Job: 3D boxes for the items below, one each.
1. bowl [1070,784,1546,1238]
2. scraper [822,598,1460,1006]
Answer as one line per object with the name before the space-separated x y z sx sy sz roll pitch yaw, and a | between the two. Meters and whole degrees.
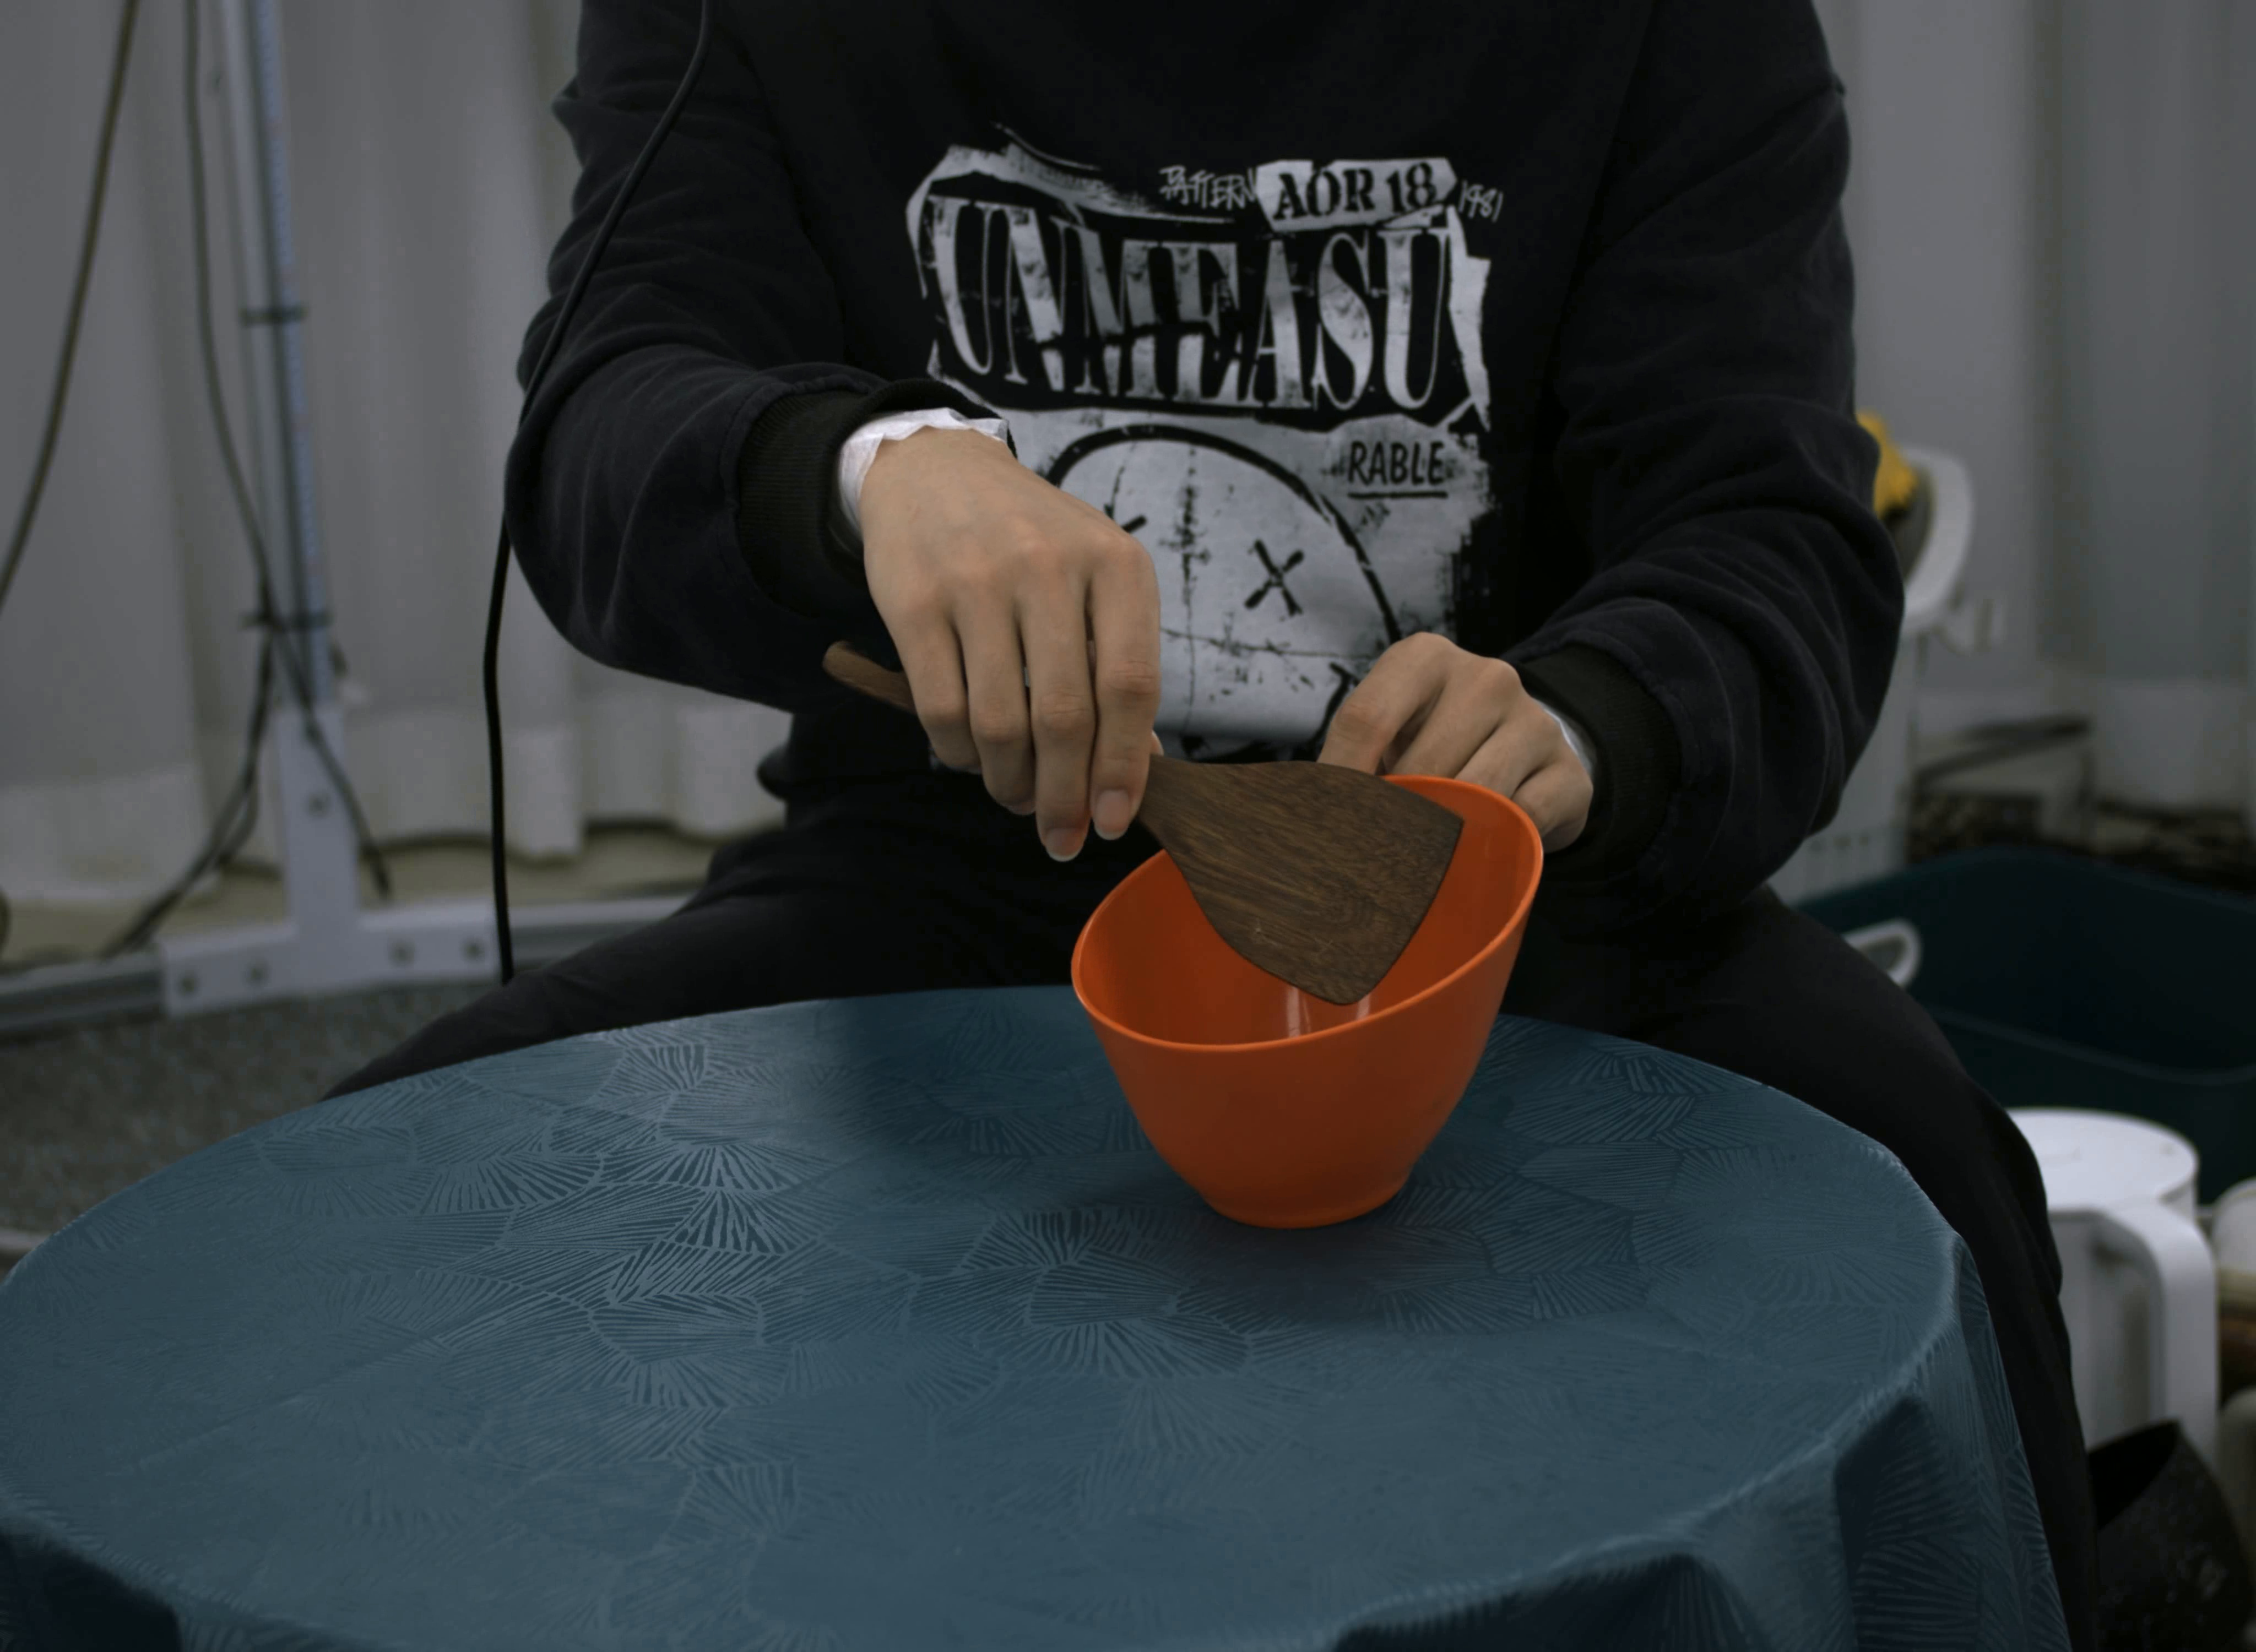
bowl | 0.059 0.063 1.679 0.147 0.104 0.150 -6 26 3
scraper | -0.001 -0.017 1.679 0.212 0.076 0.011 27 -19 17
